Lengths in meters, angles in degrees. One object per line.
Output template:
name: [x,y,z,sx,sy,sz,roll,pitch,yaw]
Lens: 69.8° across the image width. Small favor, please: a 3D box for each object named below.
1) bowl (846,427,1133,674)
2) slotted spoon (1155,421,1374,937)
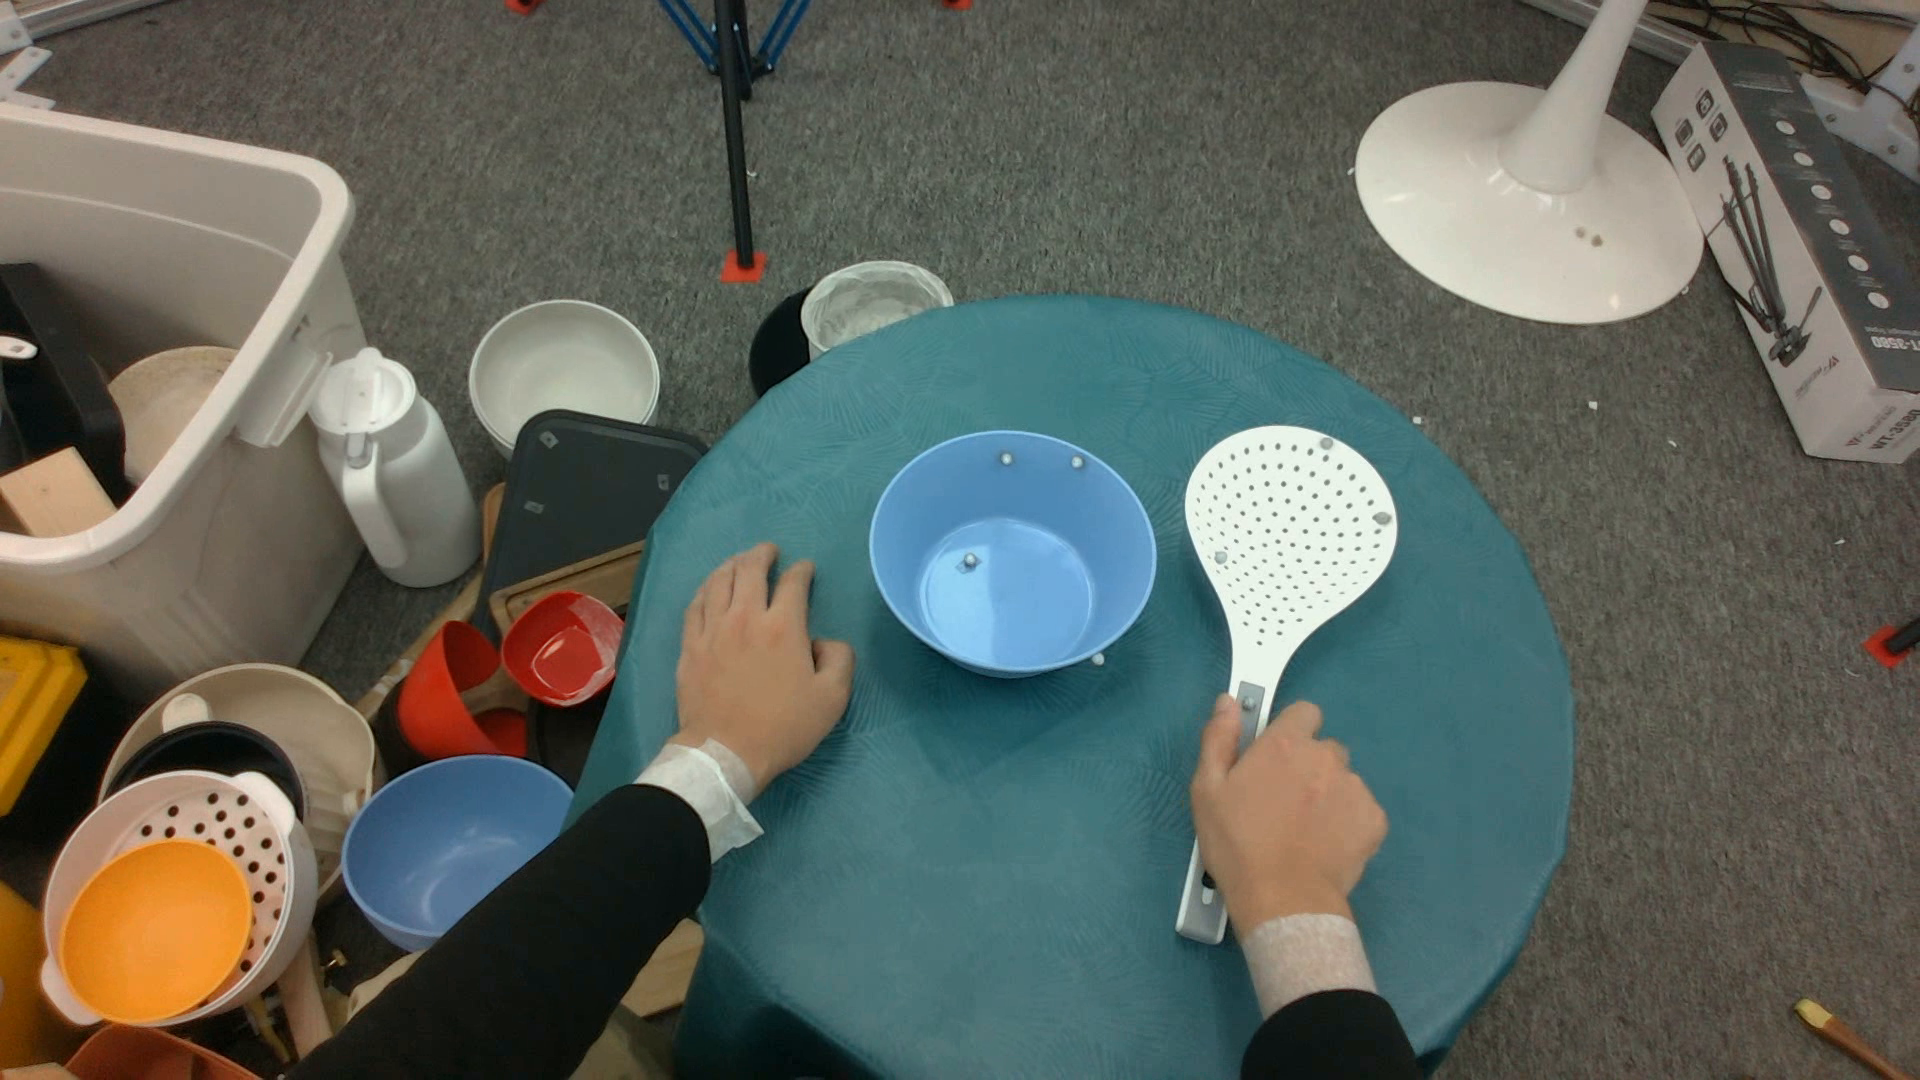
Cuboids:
bowl: [0.017,0.017,0.863,0.176,0.070,0.177,2,57,-3]
slotted spoon: [0.172,0.074,0.854,0.136,0.045,0.351,16,57,5]
